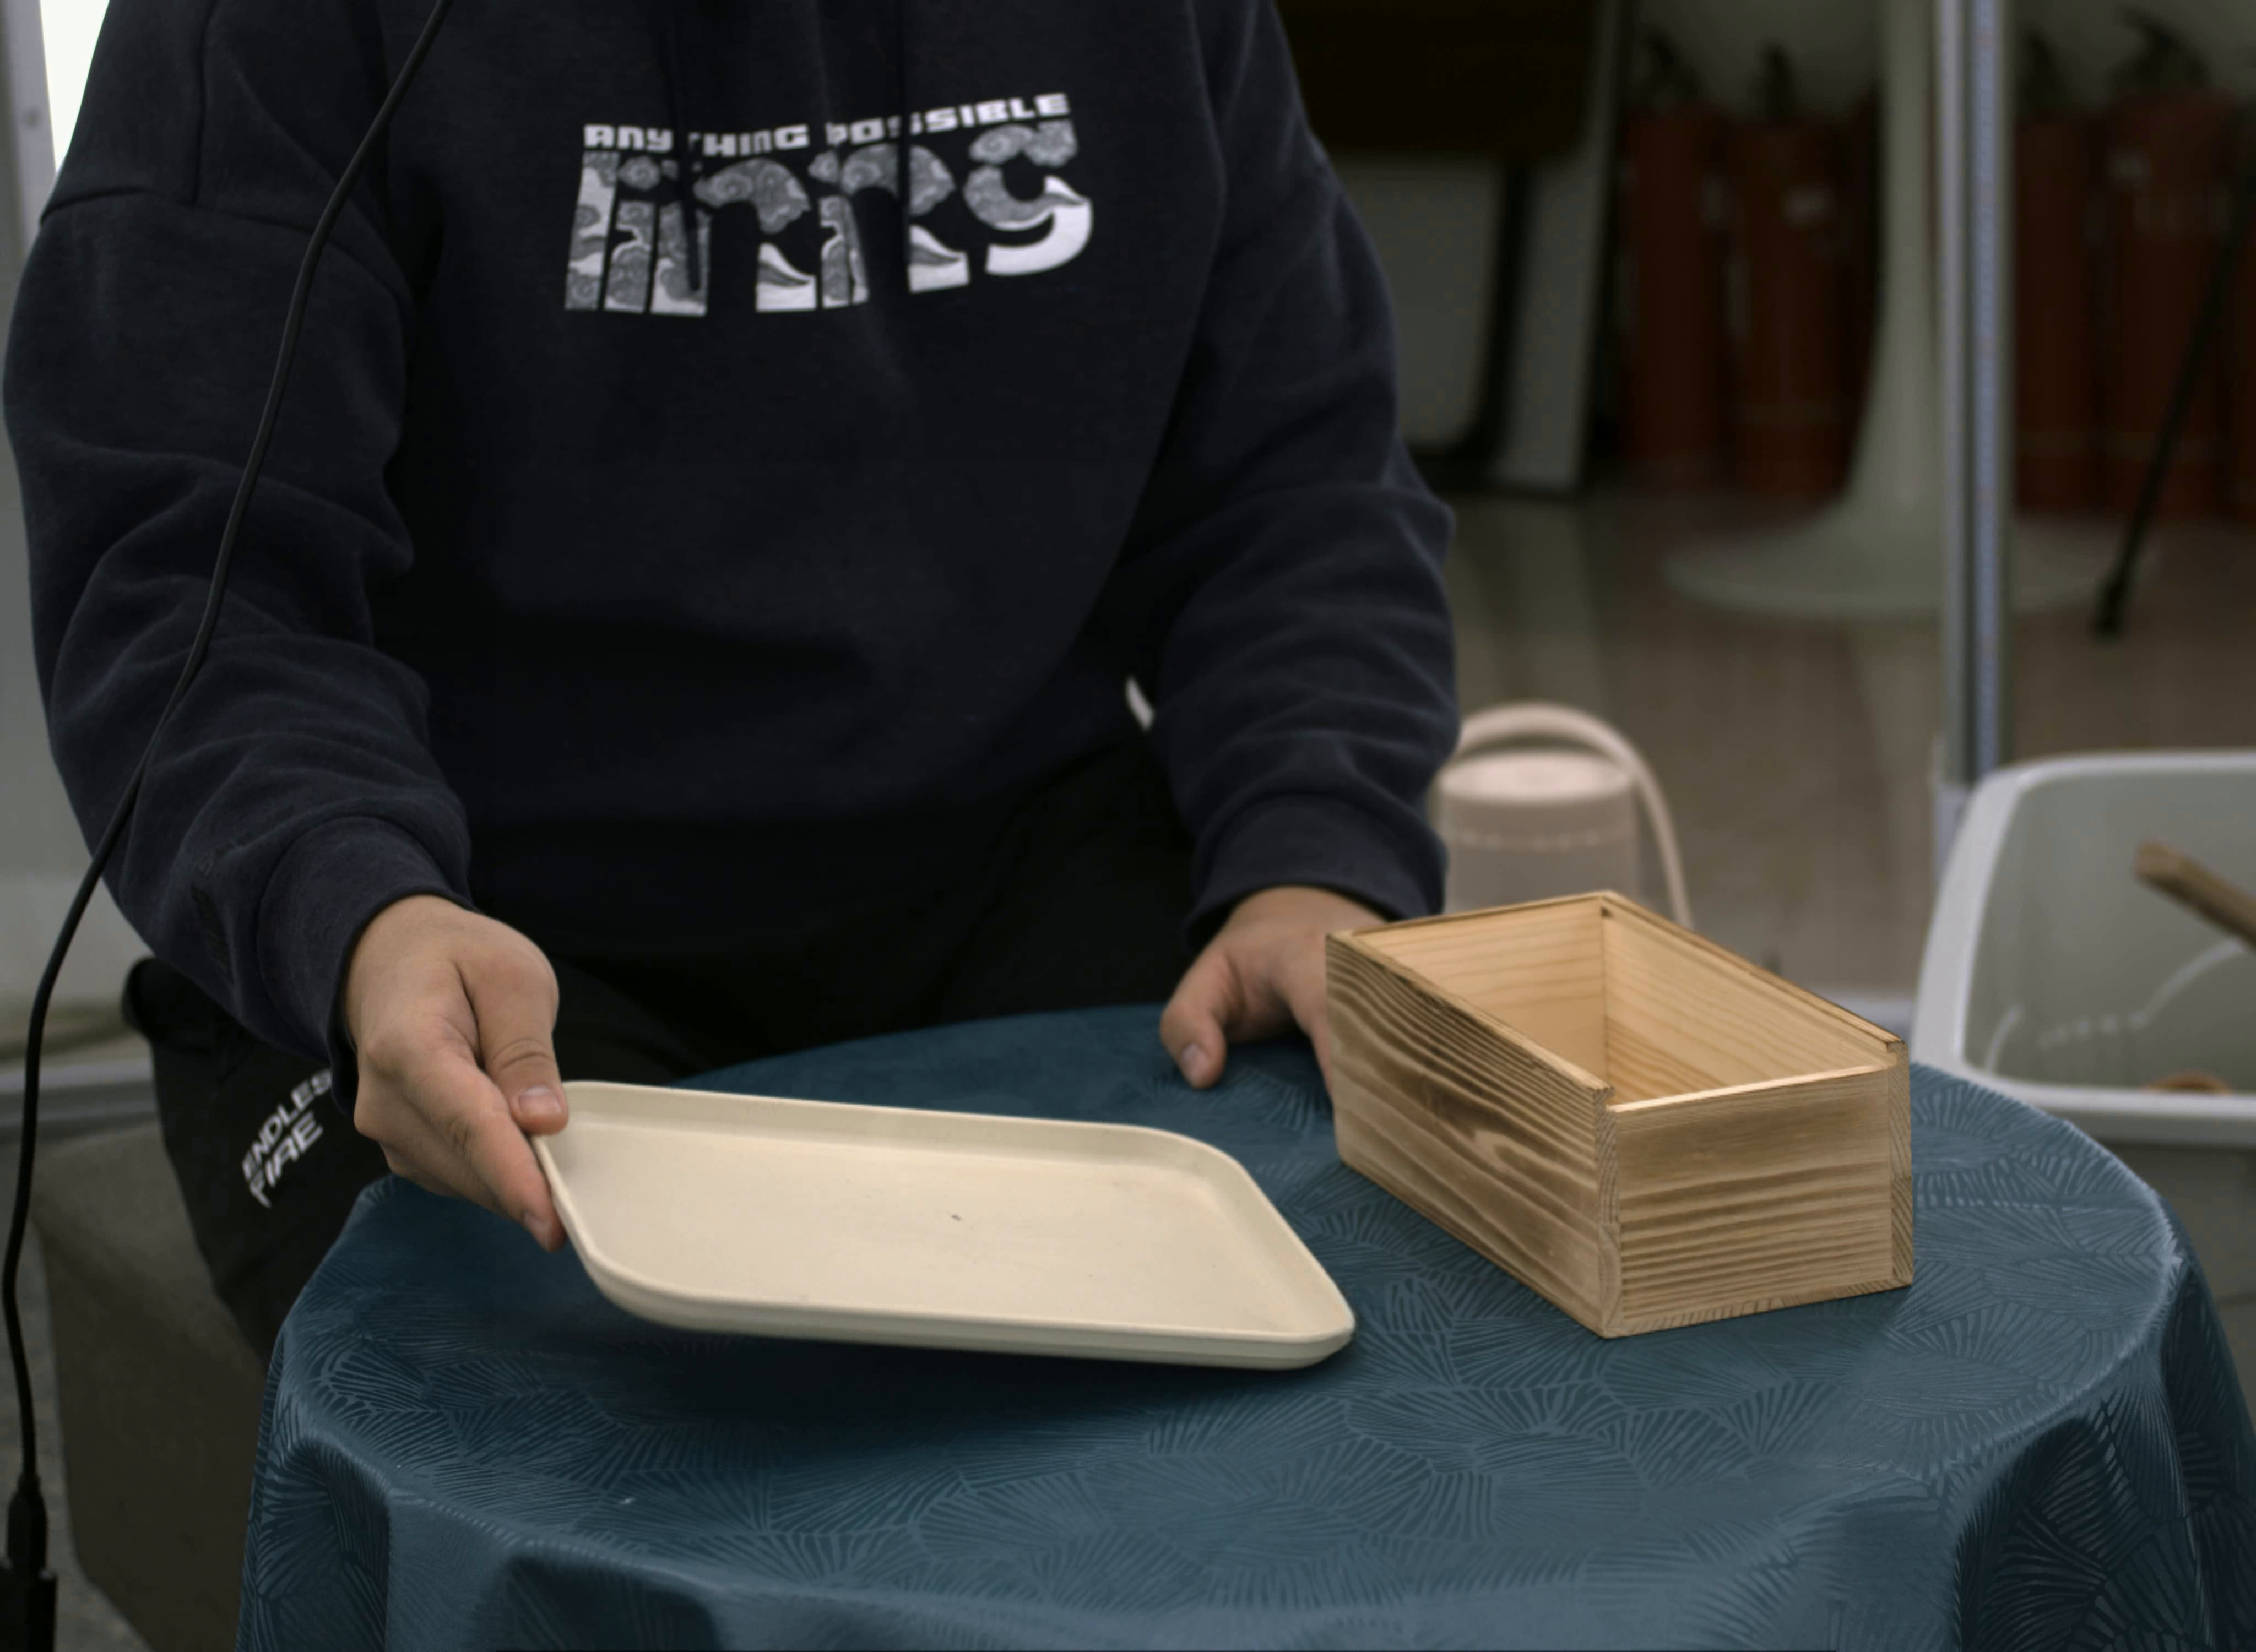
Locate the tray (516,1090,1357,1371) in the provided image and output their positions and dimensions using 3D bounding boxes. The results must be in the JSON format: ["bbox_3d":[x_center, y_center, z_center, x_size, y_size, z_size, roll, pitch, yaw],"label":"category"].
[{"bbox_3d":[-0.060,0.123,1.627,0.235,0.018,0.173,5,17,-18],"label":"tray"}]

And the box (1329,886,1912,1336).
[{"bbox_3d":[0.152,0.086,1.705,0.105,0.081,0.213,-8,14,-19],"label":"box"}]
